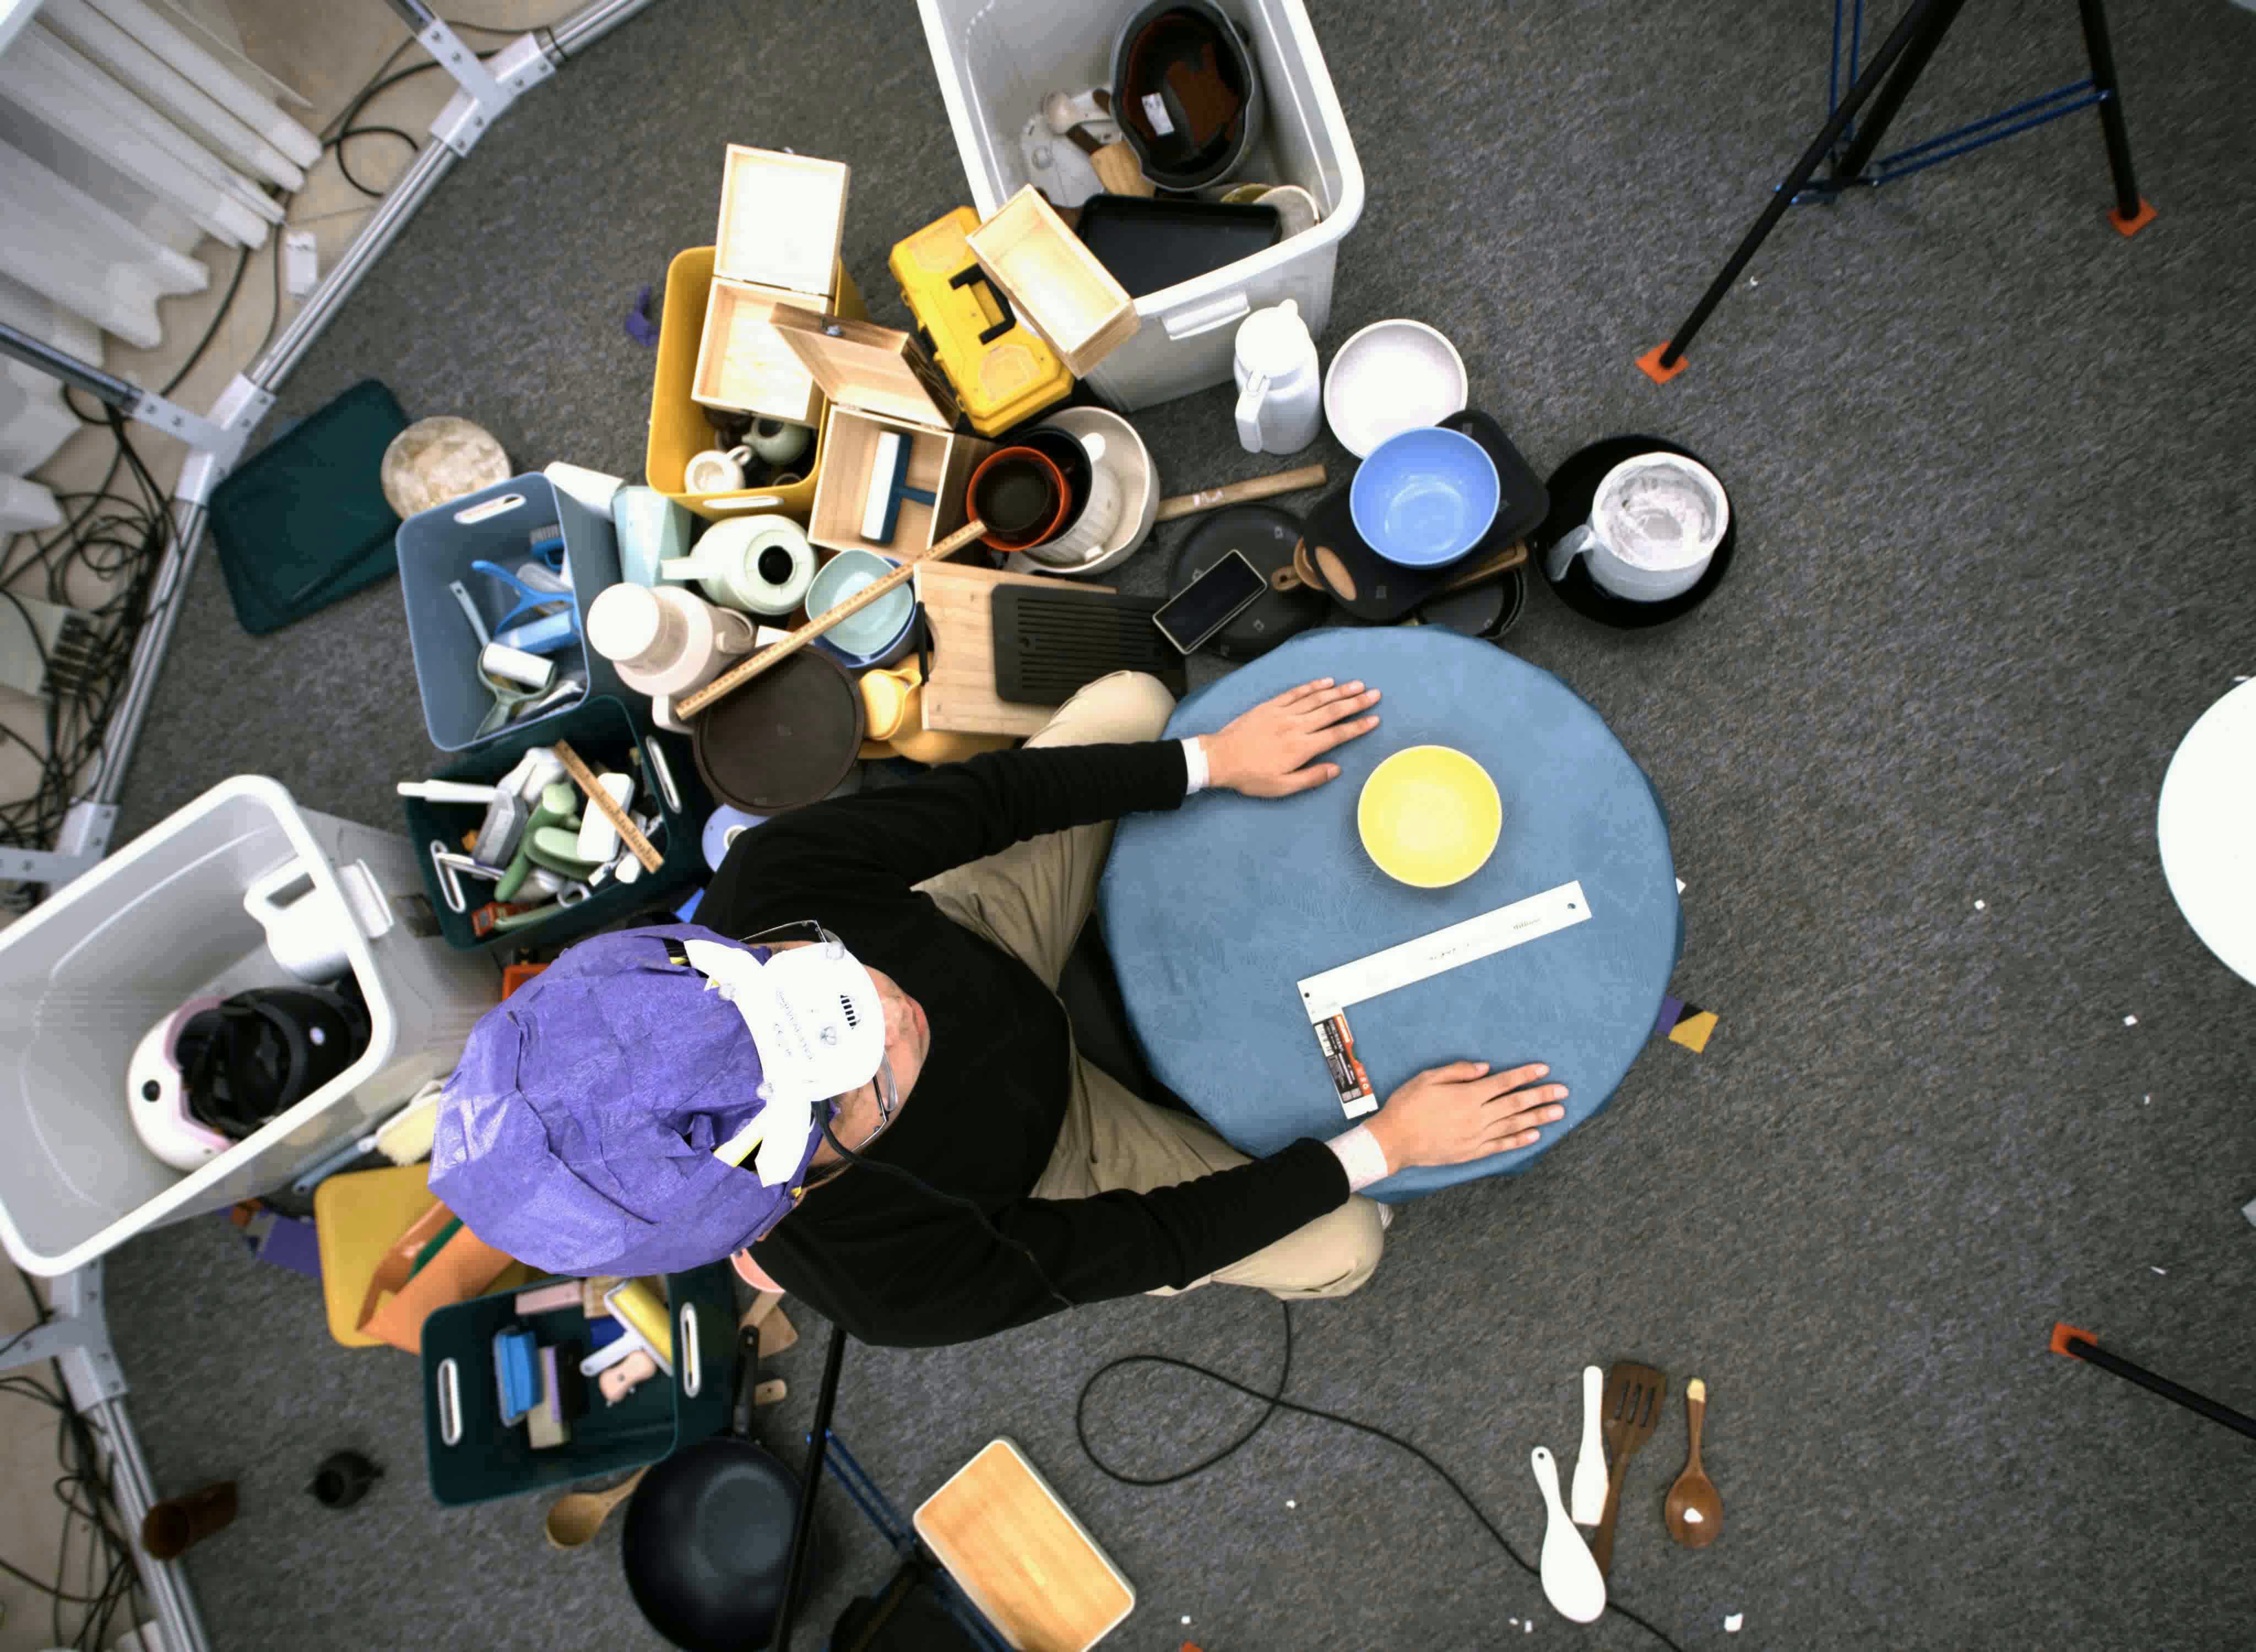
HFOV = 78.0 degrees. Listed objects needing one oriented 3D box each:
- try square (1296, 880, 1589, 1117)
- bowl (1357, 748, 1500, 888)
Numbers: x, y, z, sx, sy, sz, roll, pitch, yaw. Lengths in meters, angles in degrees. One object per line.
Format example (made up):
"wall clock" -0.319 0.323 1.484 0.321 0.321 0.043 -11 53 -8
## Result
"try square" 0.345 0.179 1.440 0.314 0.016 0.152 -21 87 8
"bowl" 0.312 -0.007 1.429 0.146 0.060 0.144 -1 85 13
